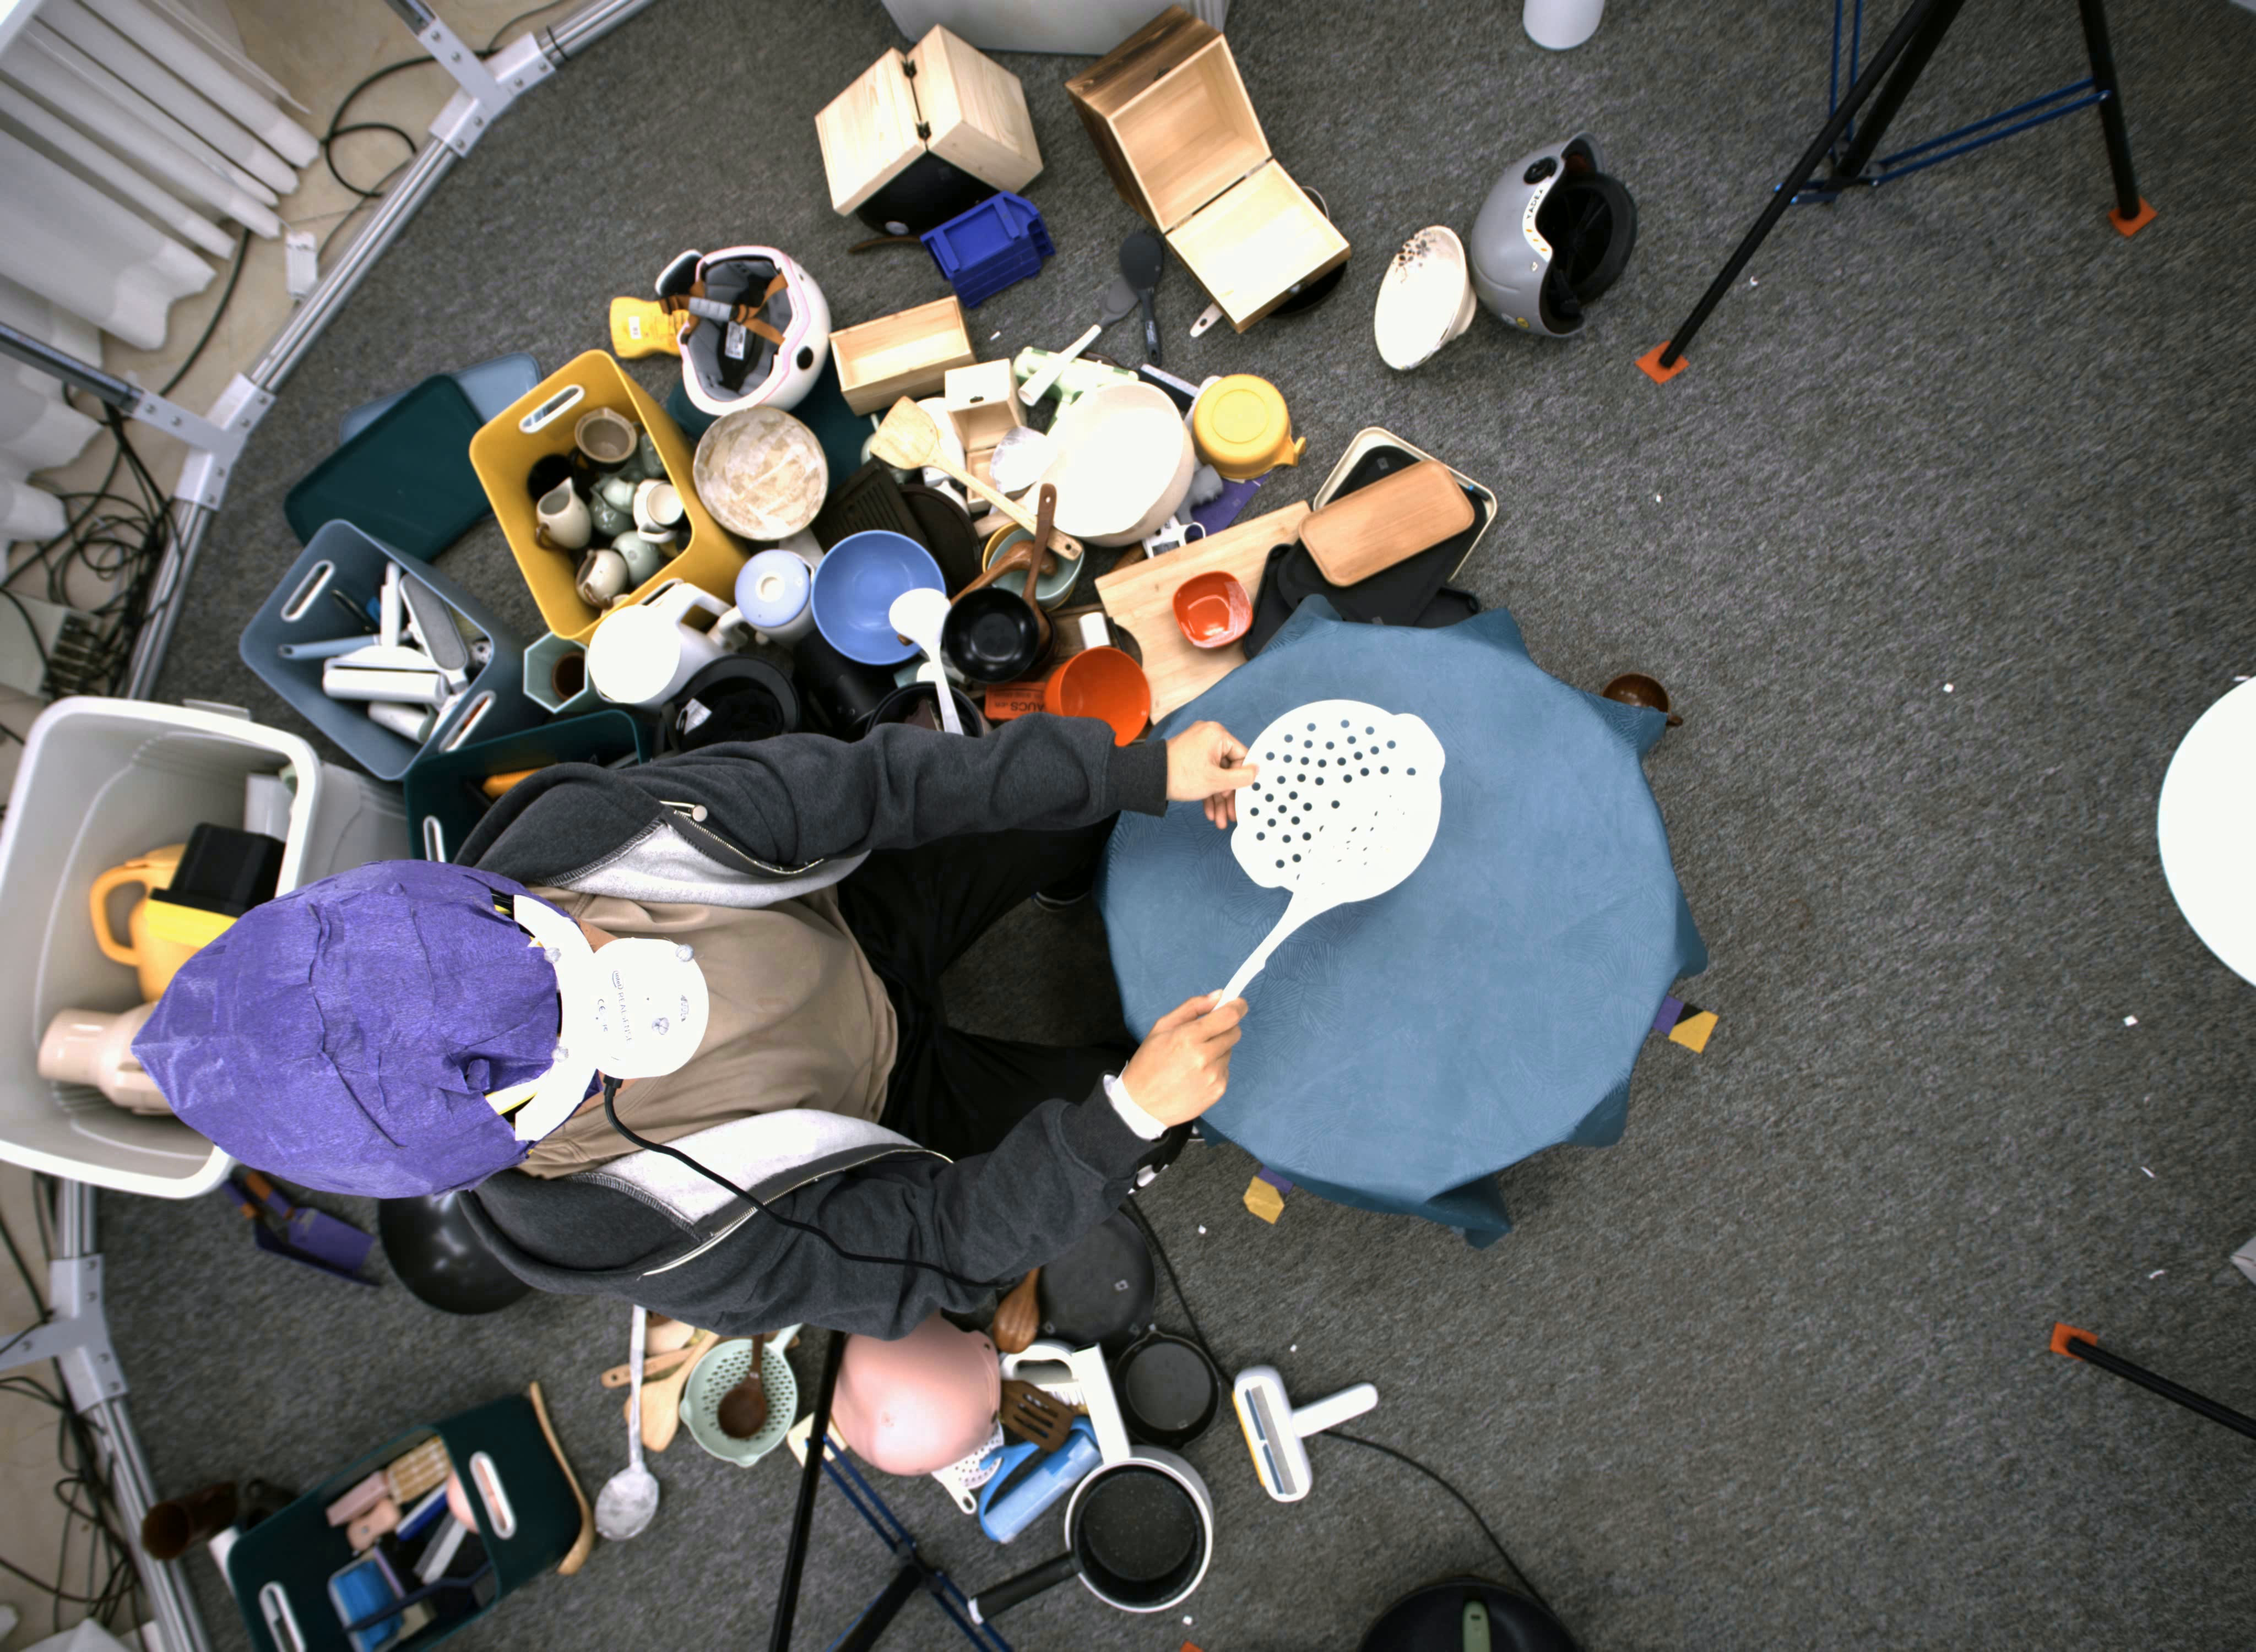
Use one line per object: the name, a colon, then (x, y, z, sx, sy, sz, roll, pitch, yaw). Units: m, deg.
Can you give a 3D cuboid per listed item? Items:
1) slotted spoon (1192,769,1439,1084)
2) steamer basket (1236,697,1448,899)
slotted spoon: (0.159, 0.085, 1.246, 0.345, 0.136, 0.051, -46, 117, -11)
steamer basket: (0.214, -0.027, 1.389, 0.231, 0.069, 0.201, -36, 85, 4)
